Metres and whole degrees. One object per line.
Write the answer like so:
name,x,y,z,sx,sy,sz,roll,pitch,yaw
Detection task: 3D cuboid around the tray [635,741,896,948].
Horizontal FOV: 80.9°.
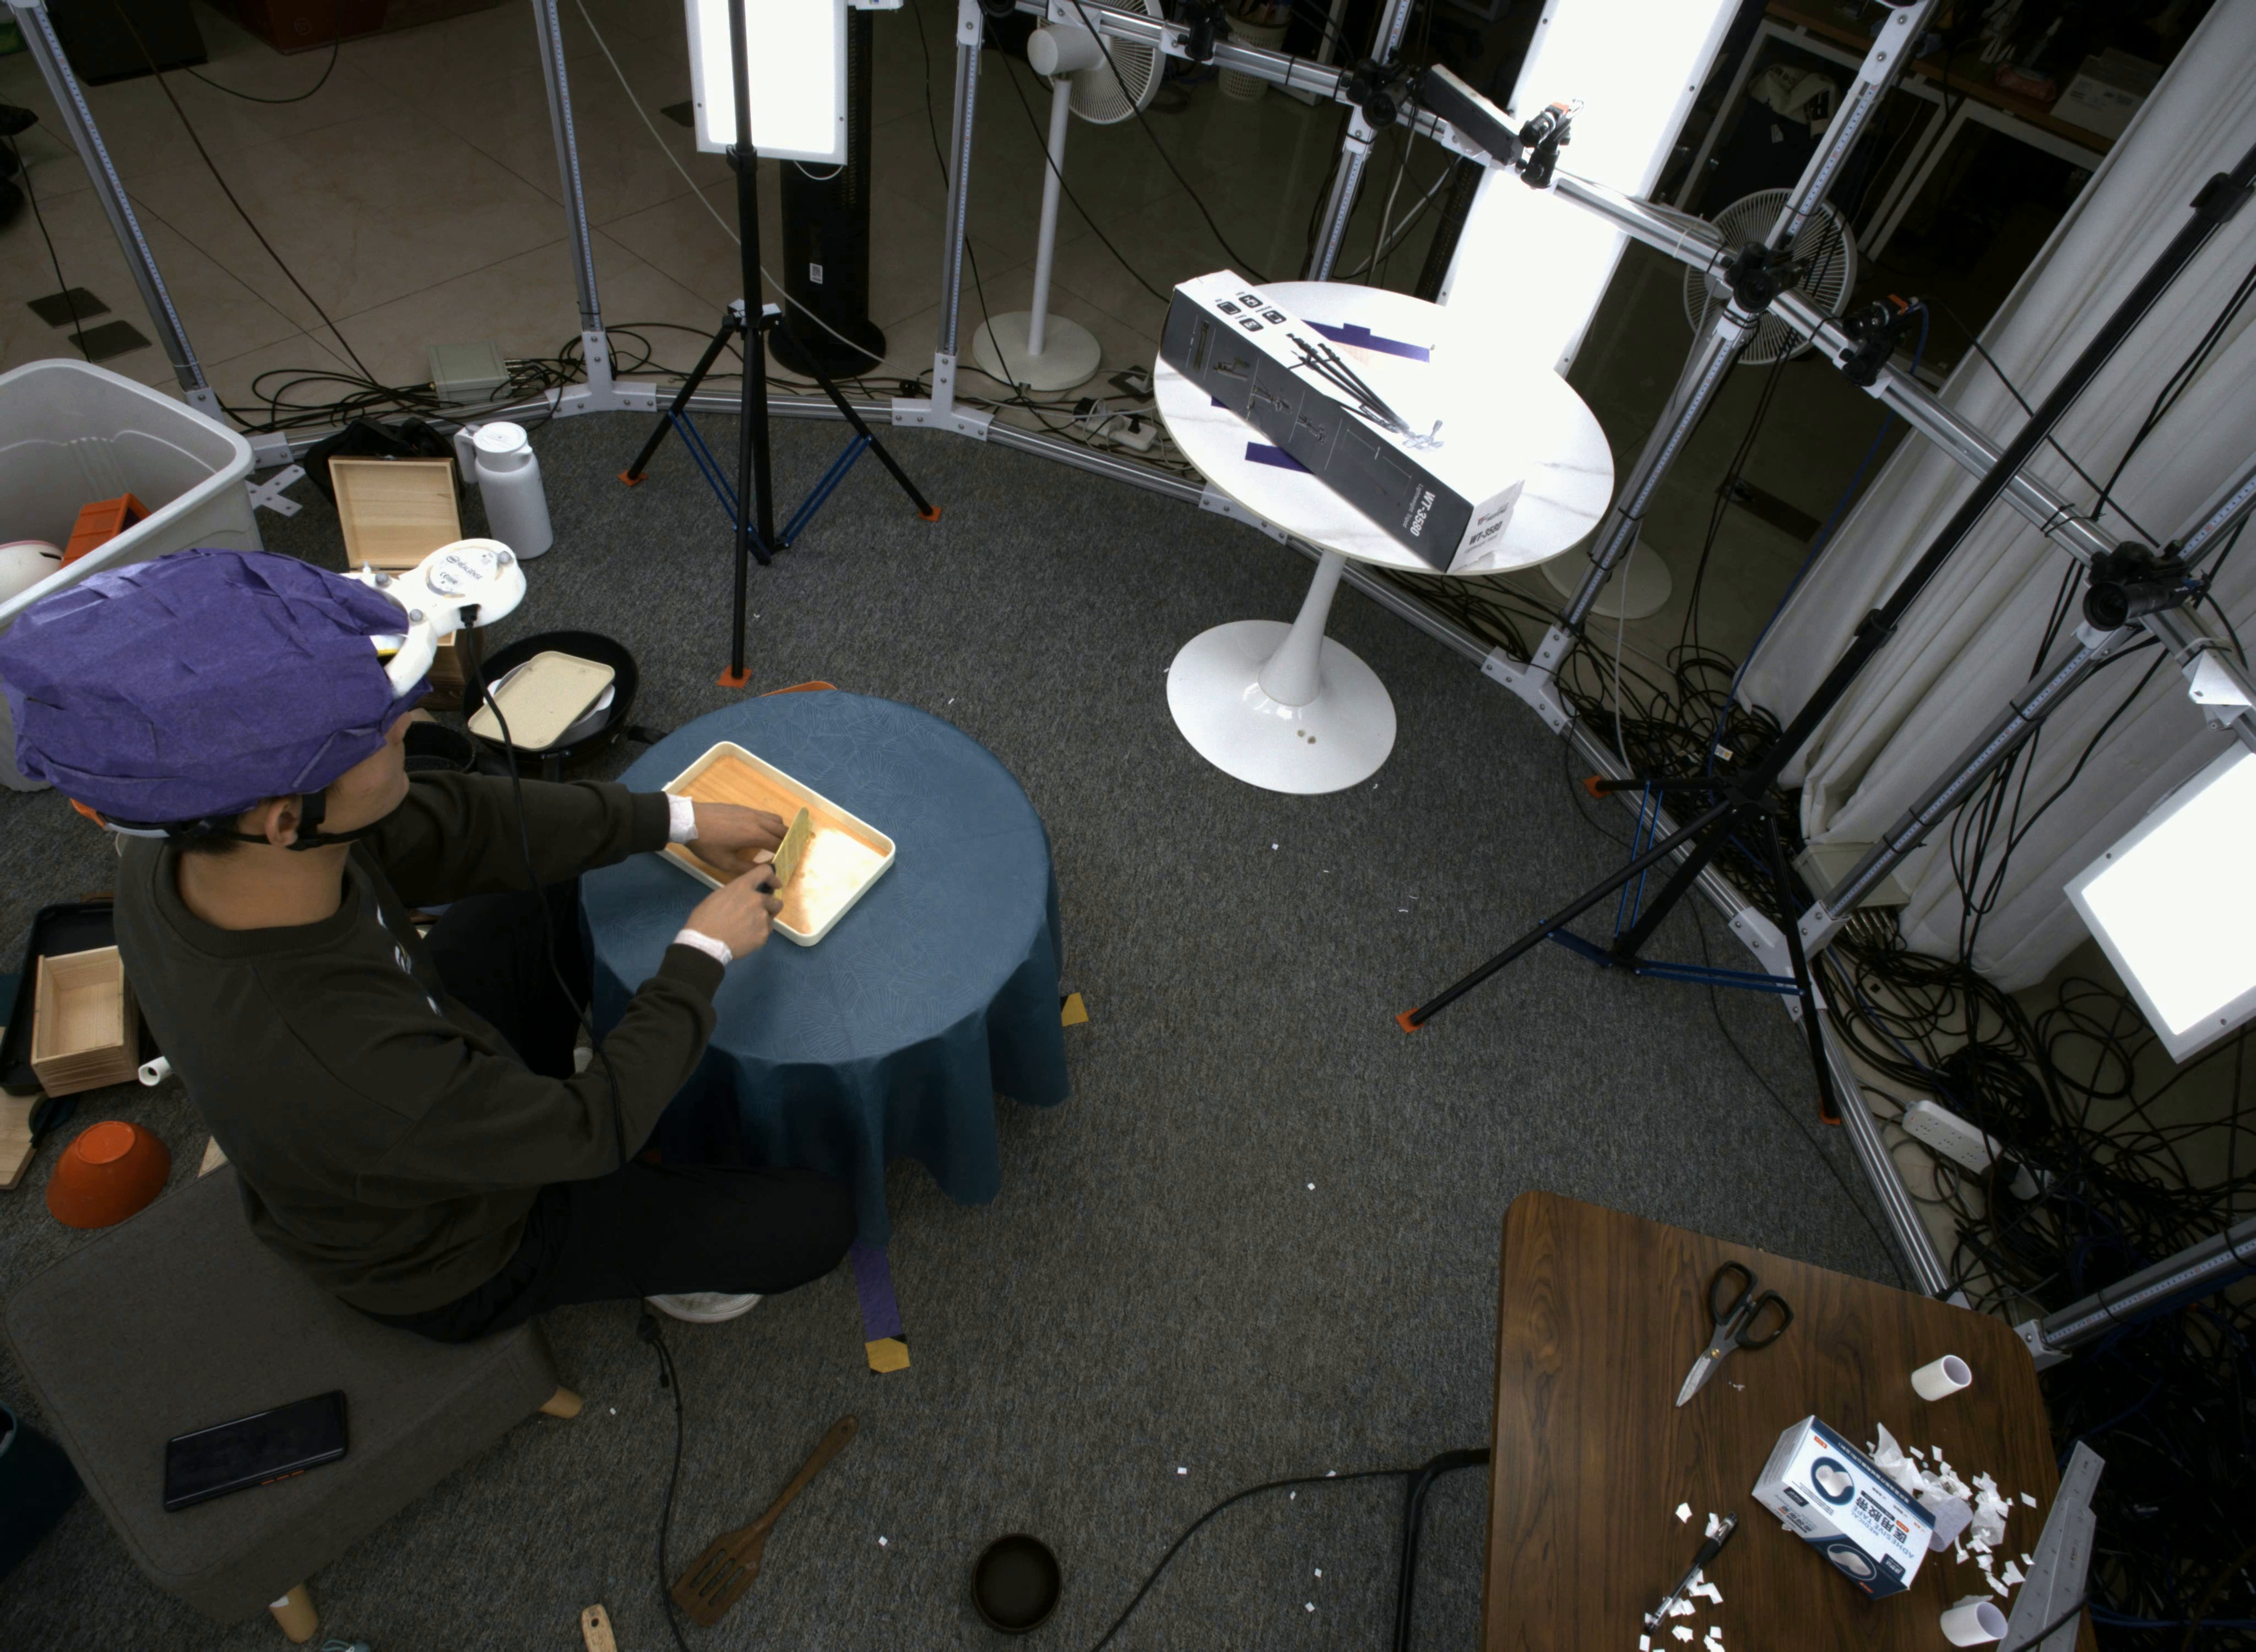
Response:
tray,-0.474,0.018,1.692,0.295,0.028,0.191,31,54,9

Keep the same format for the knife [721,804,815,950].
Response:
knife,-0.436,0.063,1.598,0.027,0.083,0.285,8,35,5
